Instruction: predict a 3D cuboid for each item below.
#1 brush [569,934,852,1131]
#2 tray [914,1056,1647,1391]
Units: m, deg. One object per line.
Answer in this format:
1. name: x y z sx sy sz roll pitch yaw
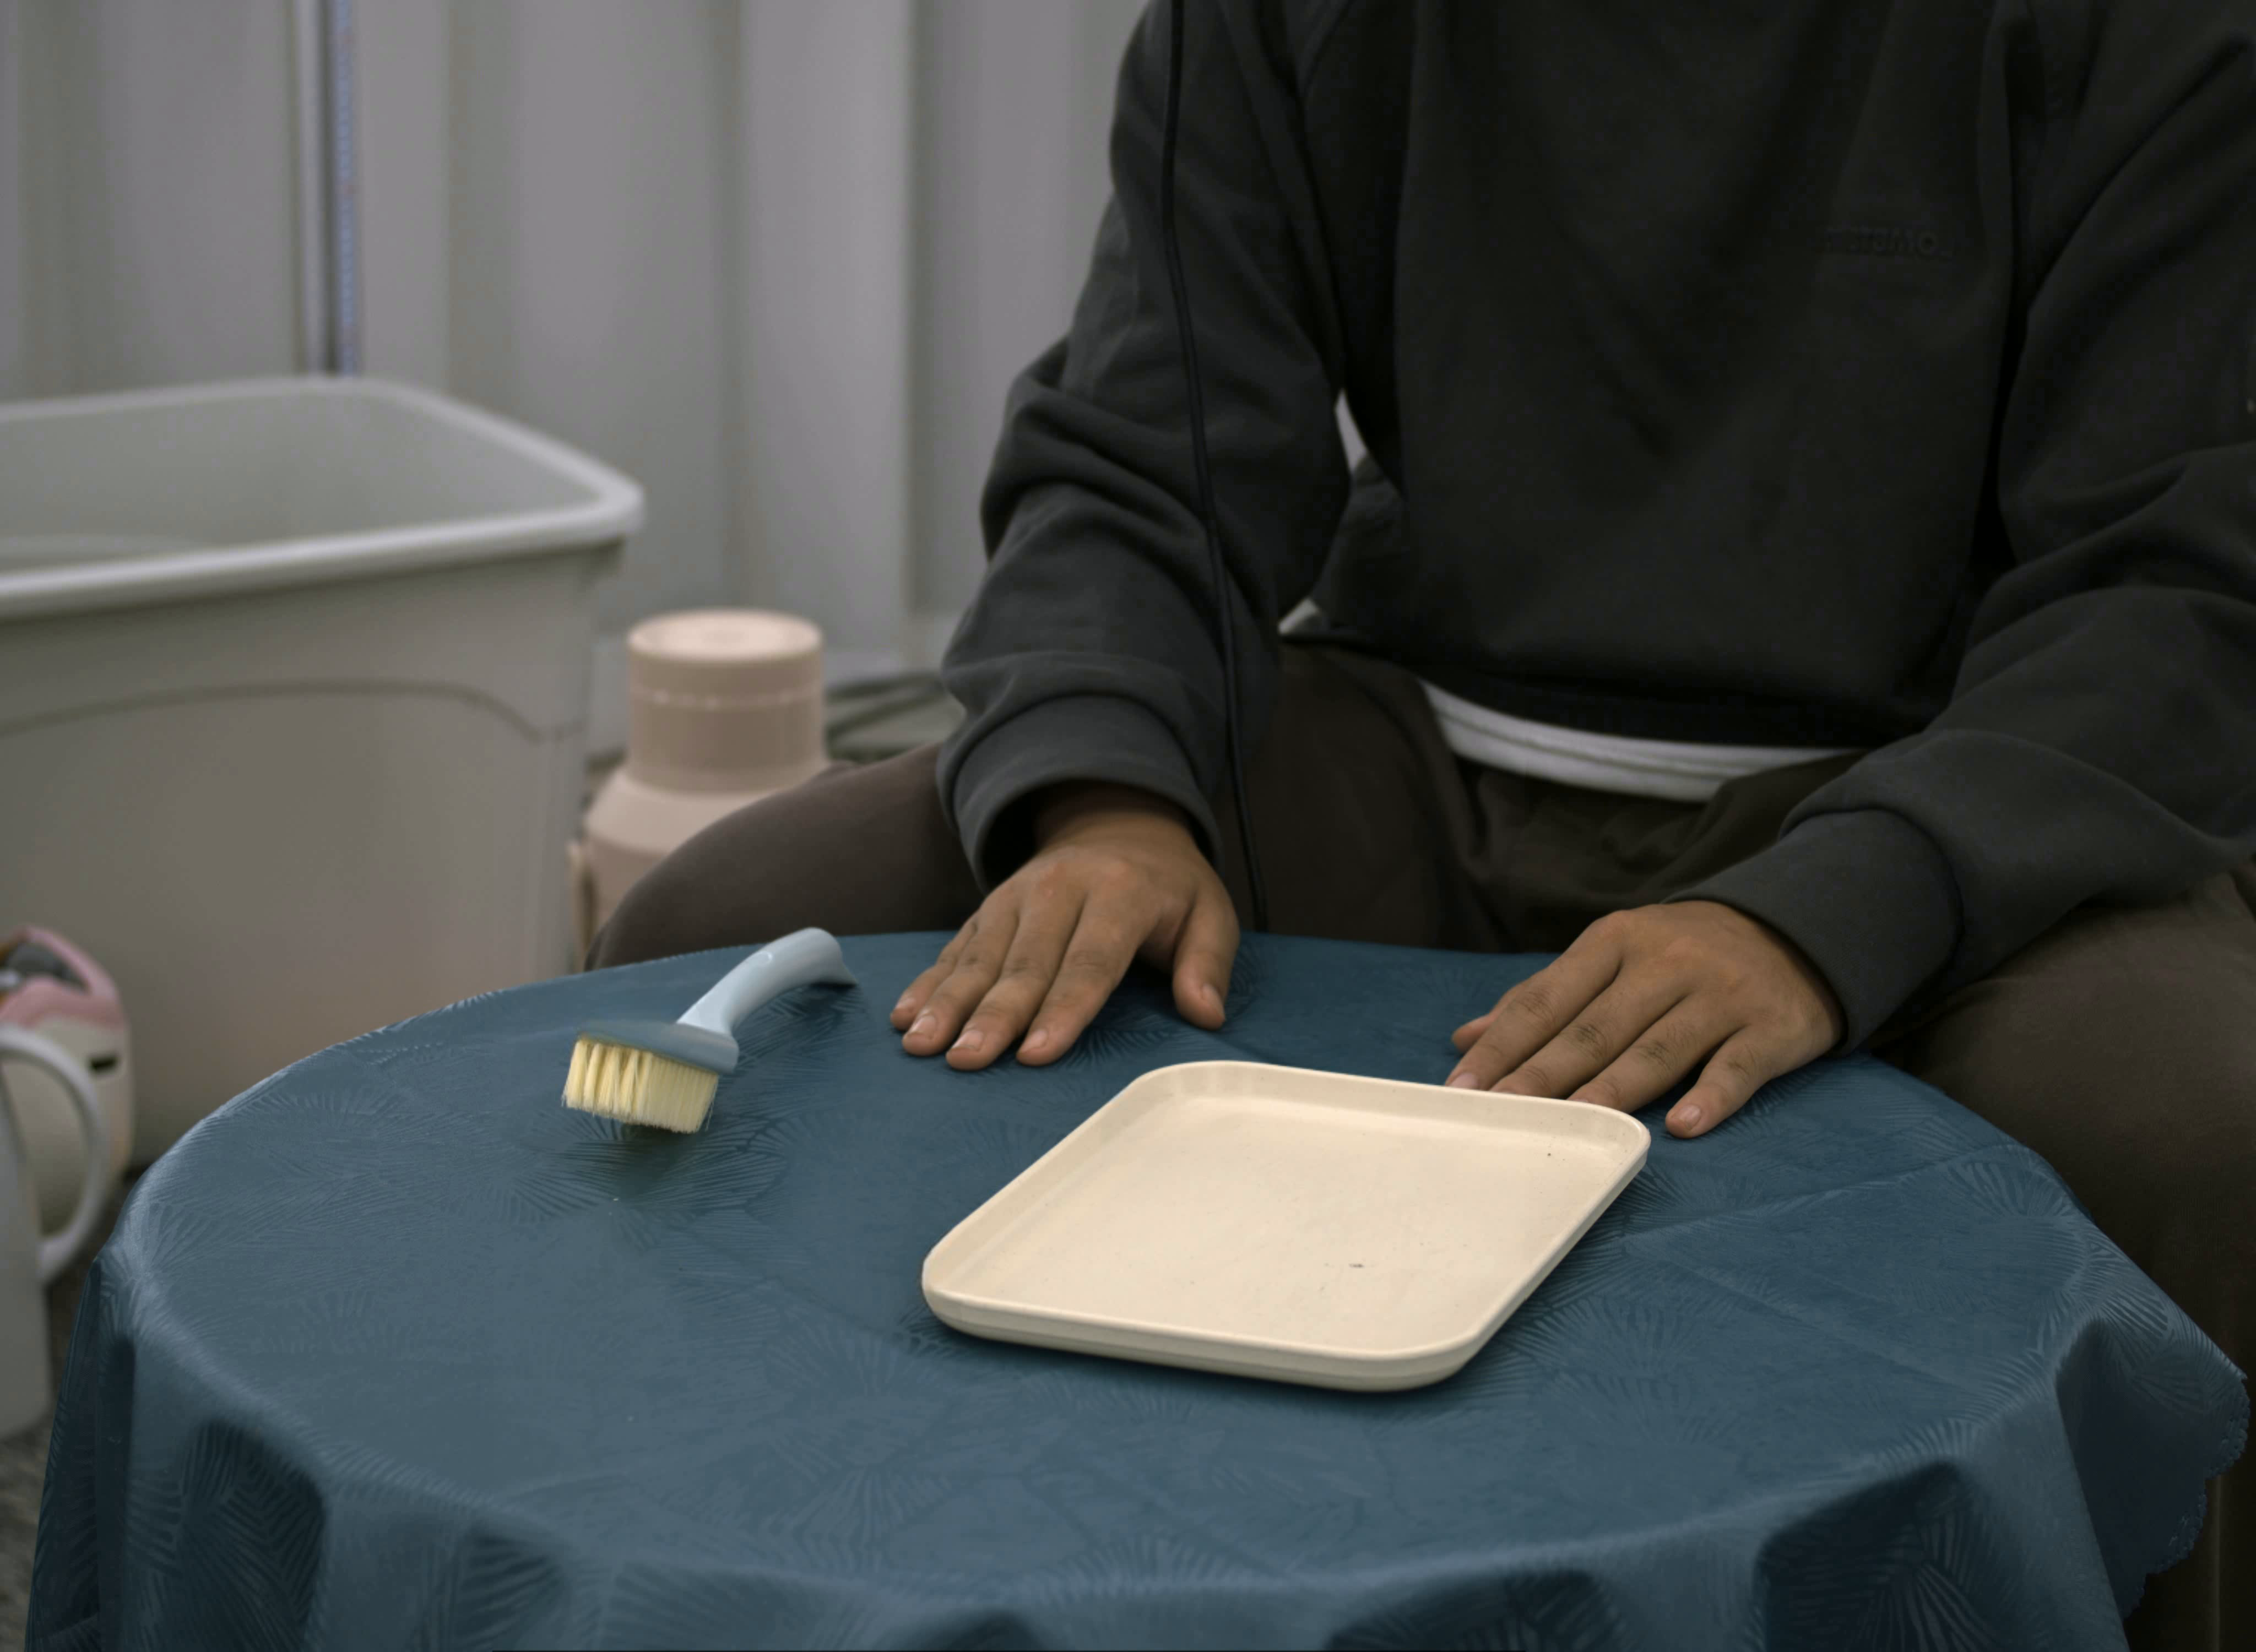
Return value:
1. brush: -0.134 0.068 1.723 0.037 0.050 0.229 11 9 12
2. tray: 0.050 0.117 1.577 0.169 0.017 0.240 7 16 19
